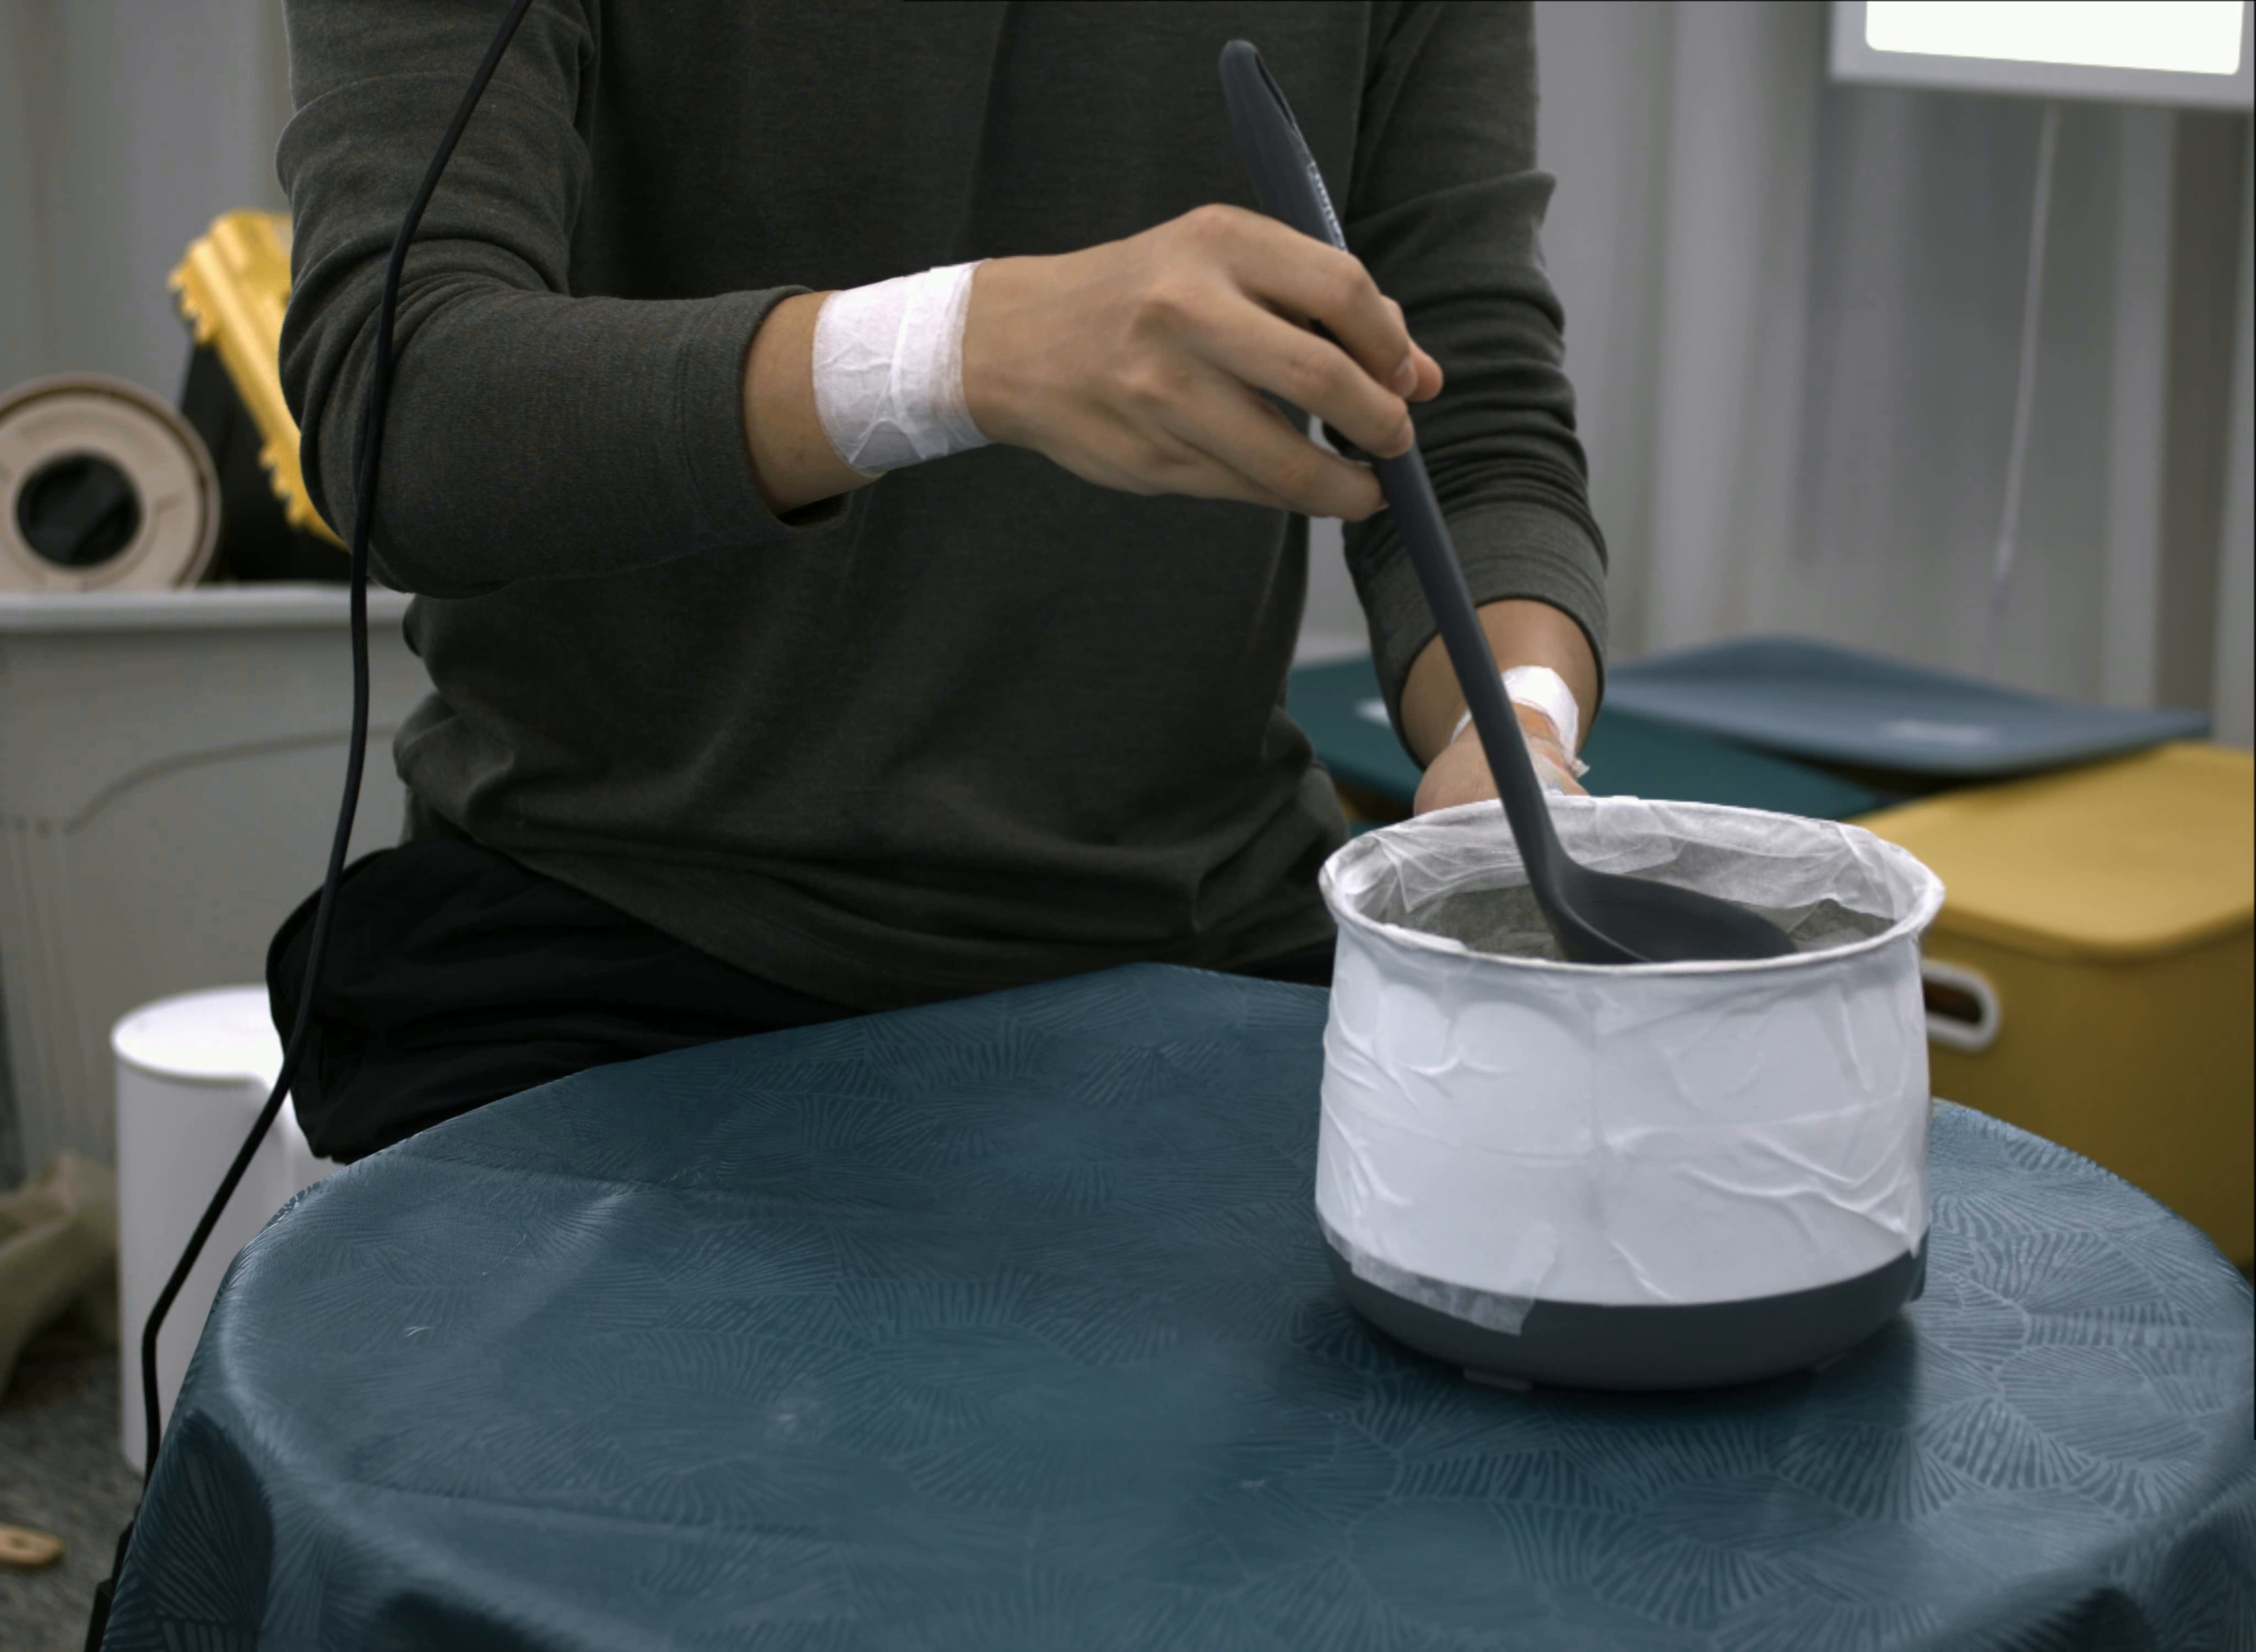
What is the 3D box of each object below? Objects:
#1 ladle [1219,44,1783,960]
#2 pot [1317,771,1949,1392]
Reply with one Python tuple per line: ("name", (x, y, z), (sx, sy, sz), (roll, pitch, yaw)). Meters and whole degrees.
("ladle", (0.108, -0.081, 1.485), (0.063, 0.316, 0.086), (-20, 9, 12))
("pot", (0.137, 0.068, 1.530), (0.179, 0.138, 0.231), (-3, 16, -12))
